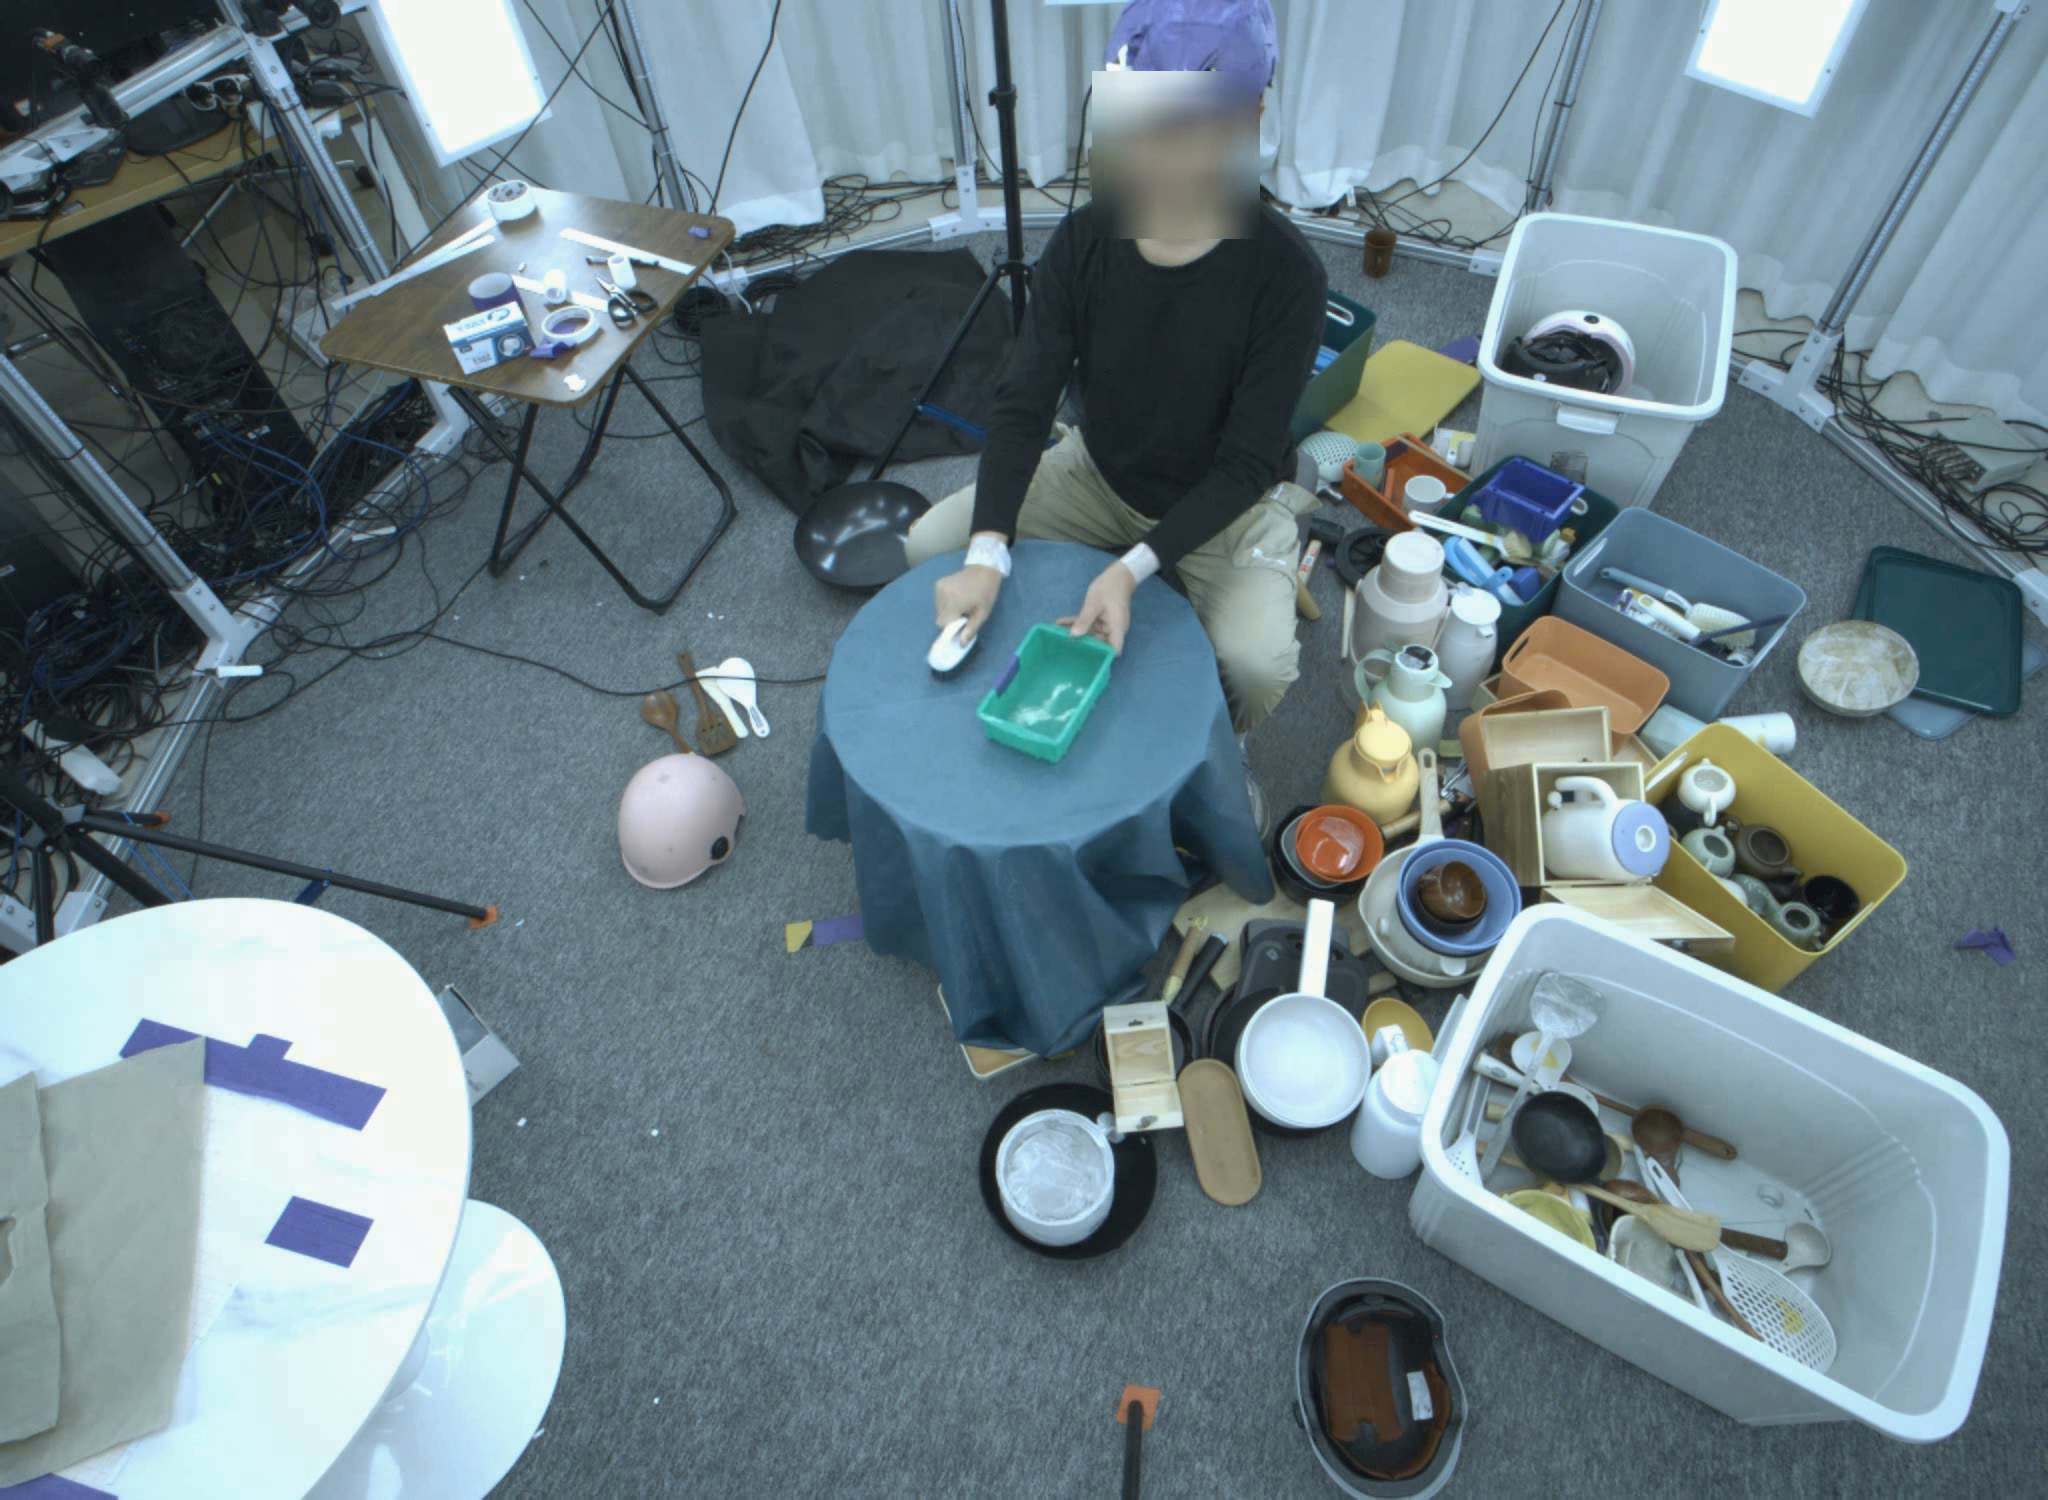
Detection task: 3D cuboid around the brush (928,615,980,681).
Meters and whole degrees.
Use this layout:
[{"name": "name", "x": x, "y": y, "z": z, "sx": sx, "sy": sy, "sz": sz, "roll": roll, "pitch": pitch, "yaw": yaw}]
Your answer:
[{"name": "brush", "x": -0.109, "y": -0.163, "z": 1.861, "sx": 0.049, "sy": 0.073, "sz": 0.099, "roll": 26, "pitch": 60, "yaw": 21}]

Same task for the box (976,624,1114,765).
[{"name": "box", "x": 0.034, "y": -0.080, "z": 1.805, "sx": 0.137, "sy": 0.066, "sz": 0.210, "roll": 19, "pitch": 59, "yaw": 18}]
